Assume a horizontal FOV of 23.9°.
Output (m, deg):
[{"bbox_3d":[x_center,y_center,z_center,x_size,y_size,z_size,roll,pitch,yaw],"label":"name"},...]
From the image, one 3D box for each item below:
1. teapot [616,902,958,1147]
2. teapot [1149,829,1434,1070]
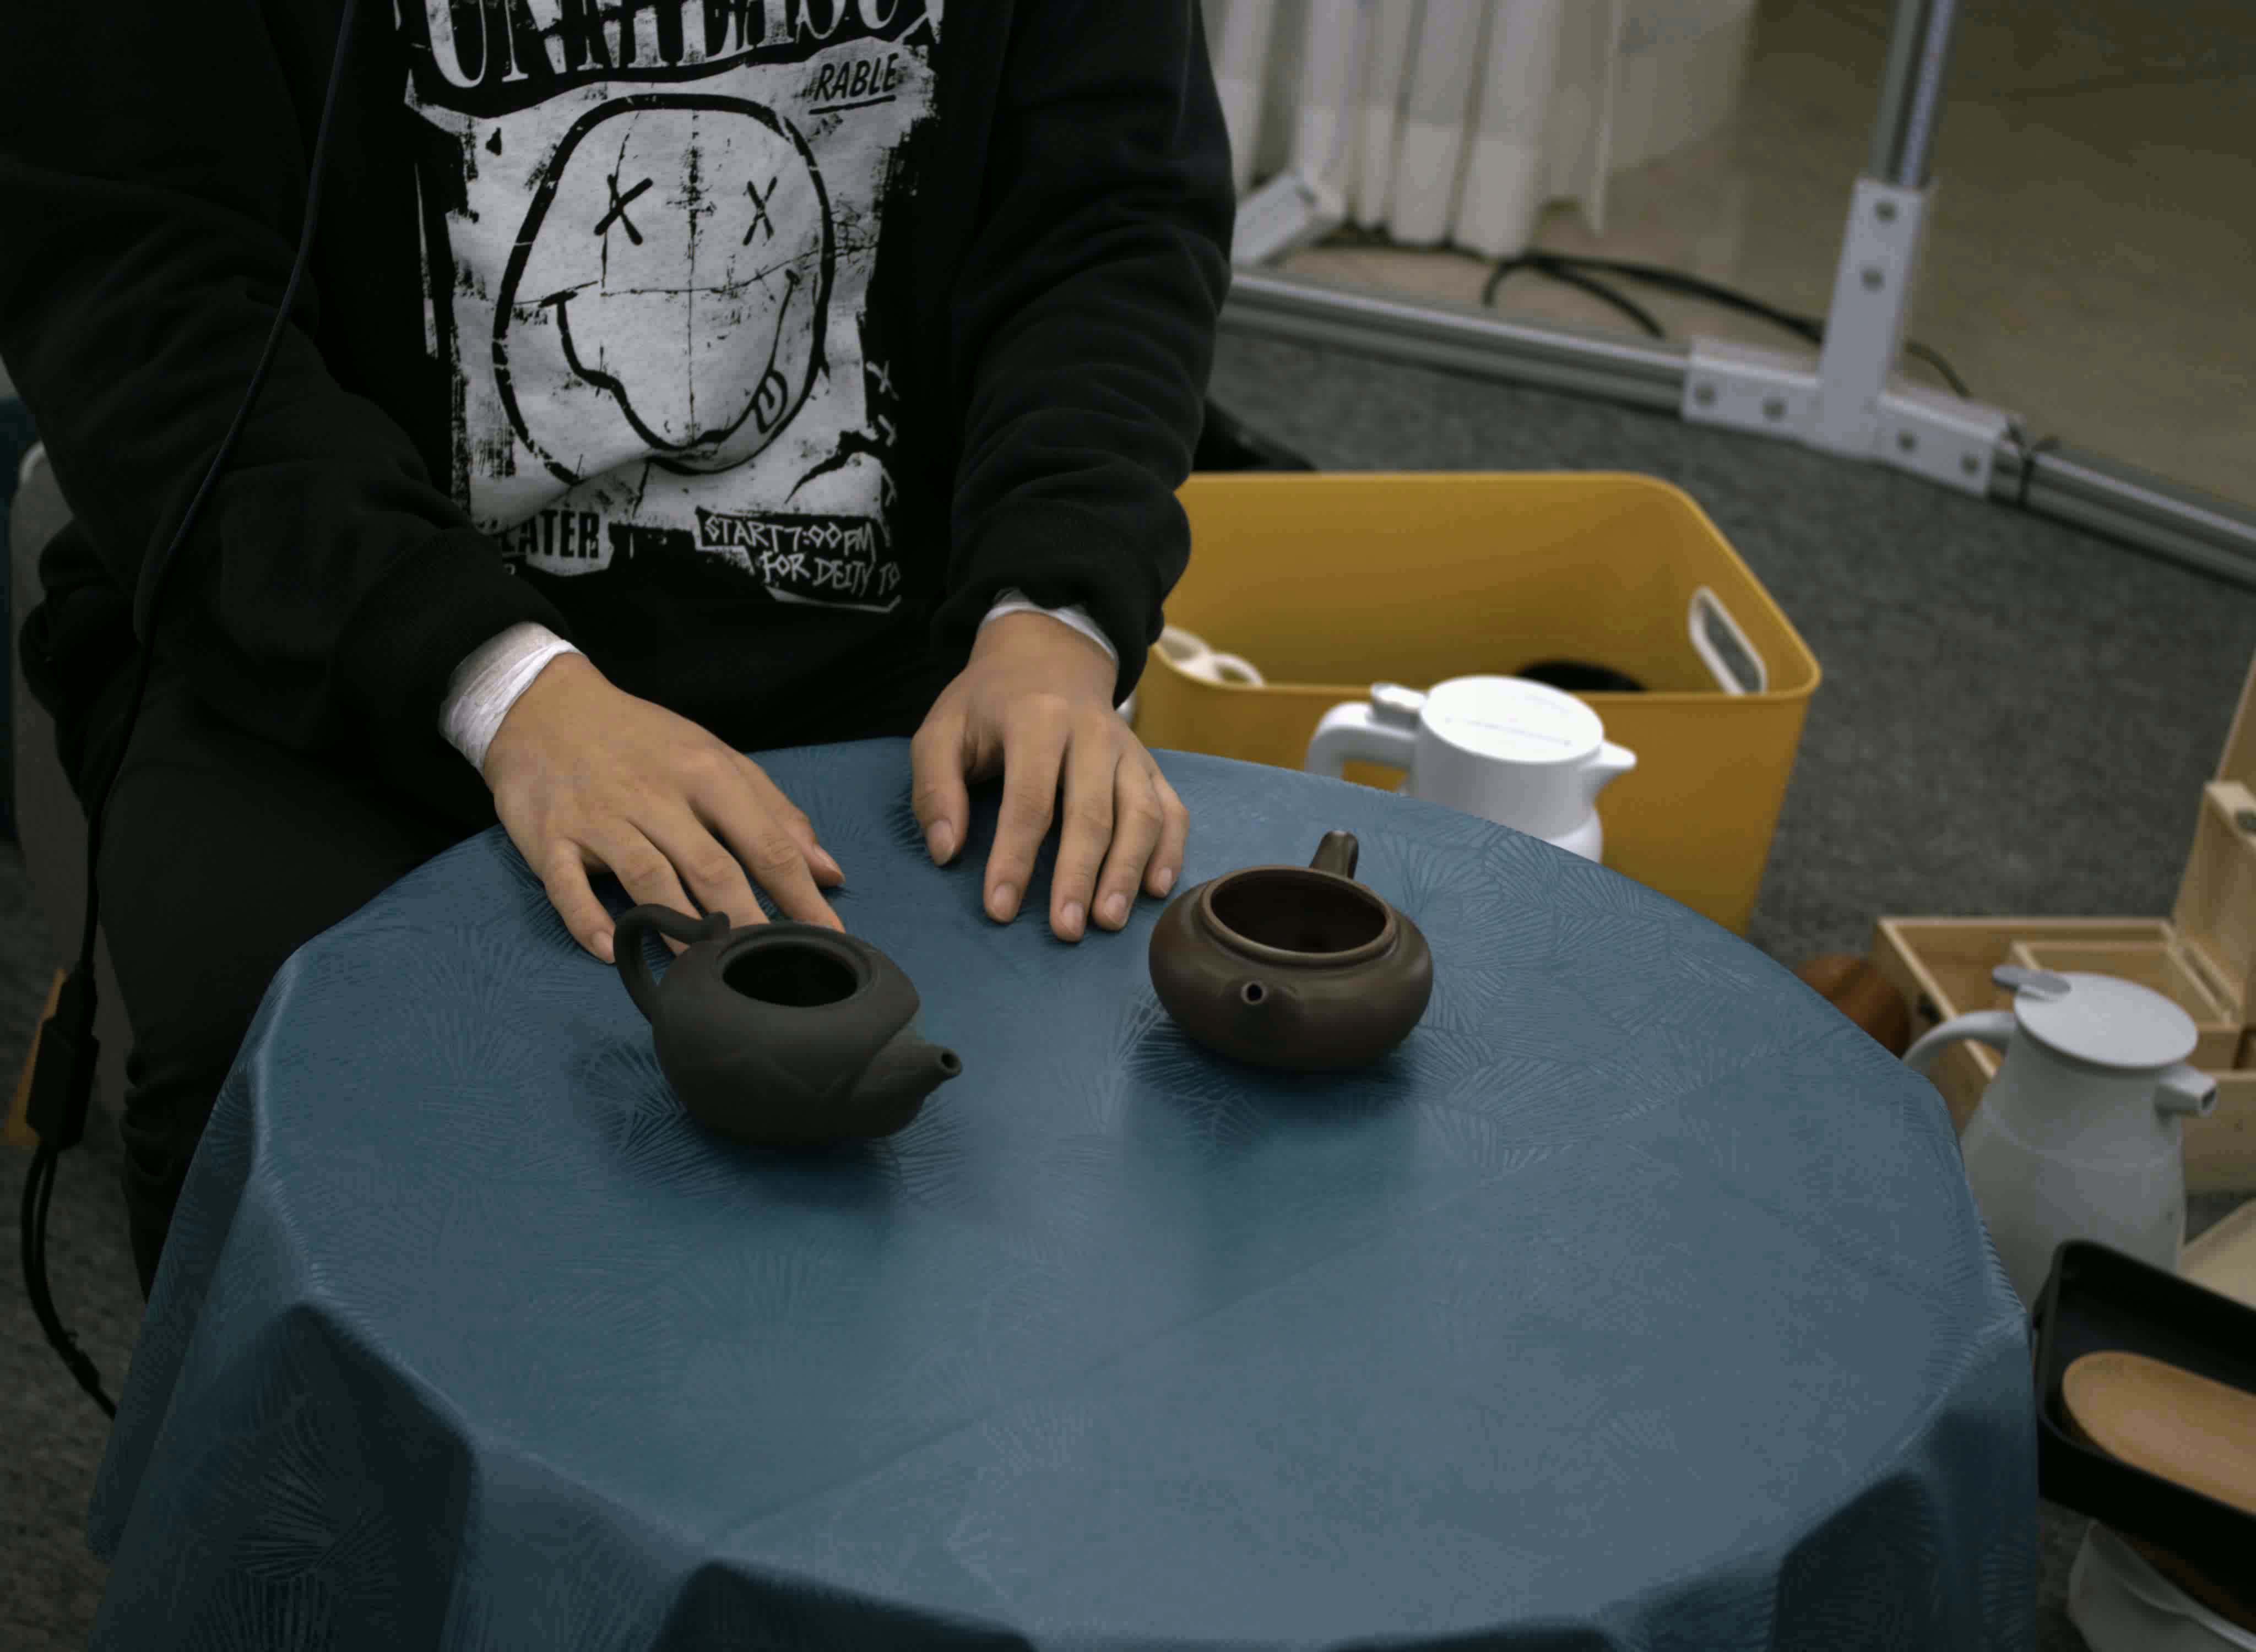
[{"bbox_3d":[-0.119,0.069,1.815,0.155,0.064,0.092,26,30,32],"label":"teapot"},{"bbox_3d":[0.059,0.047,1.910,0.102,0.053,0.154,11,27,5],"label":"teapot"}]
